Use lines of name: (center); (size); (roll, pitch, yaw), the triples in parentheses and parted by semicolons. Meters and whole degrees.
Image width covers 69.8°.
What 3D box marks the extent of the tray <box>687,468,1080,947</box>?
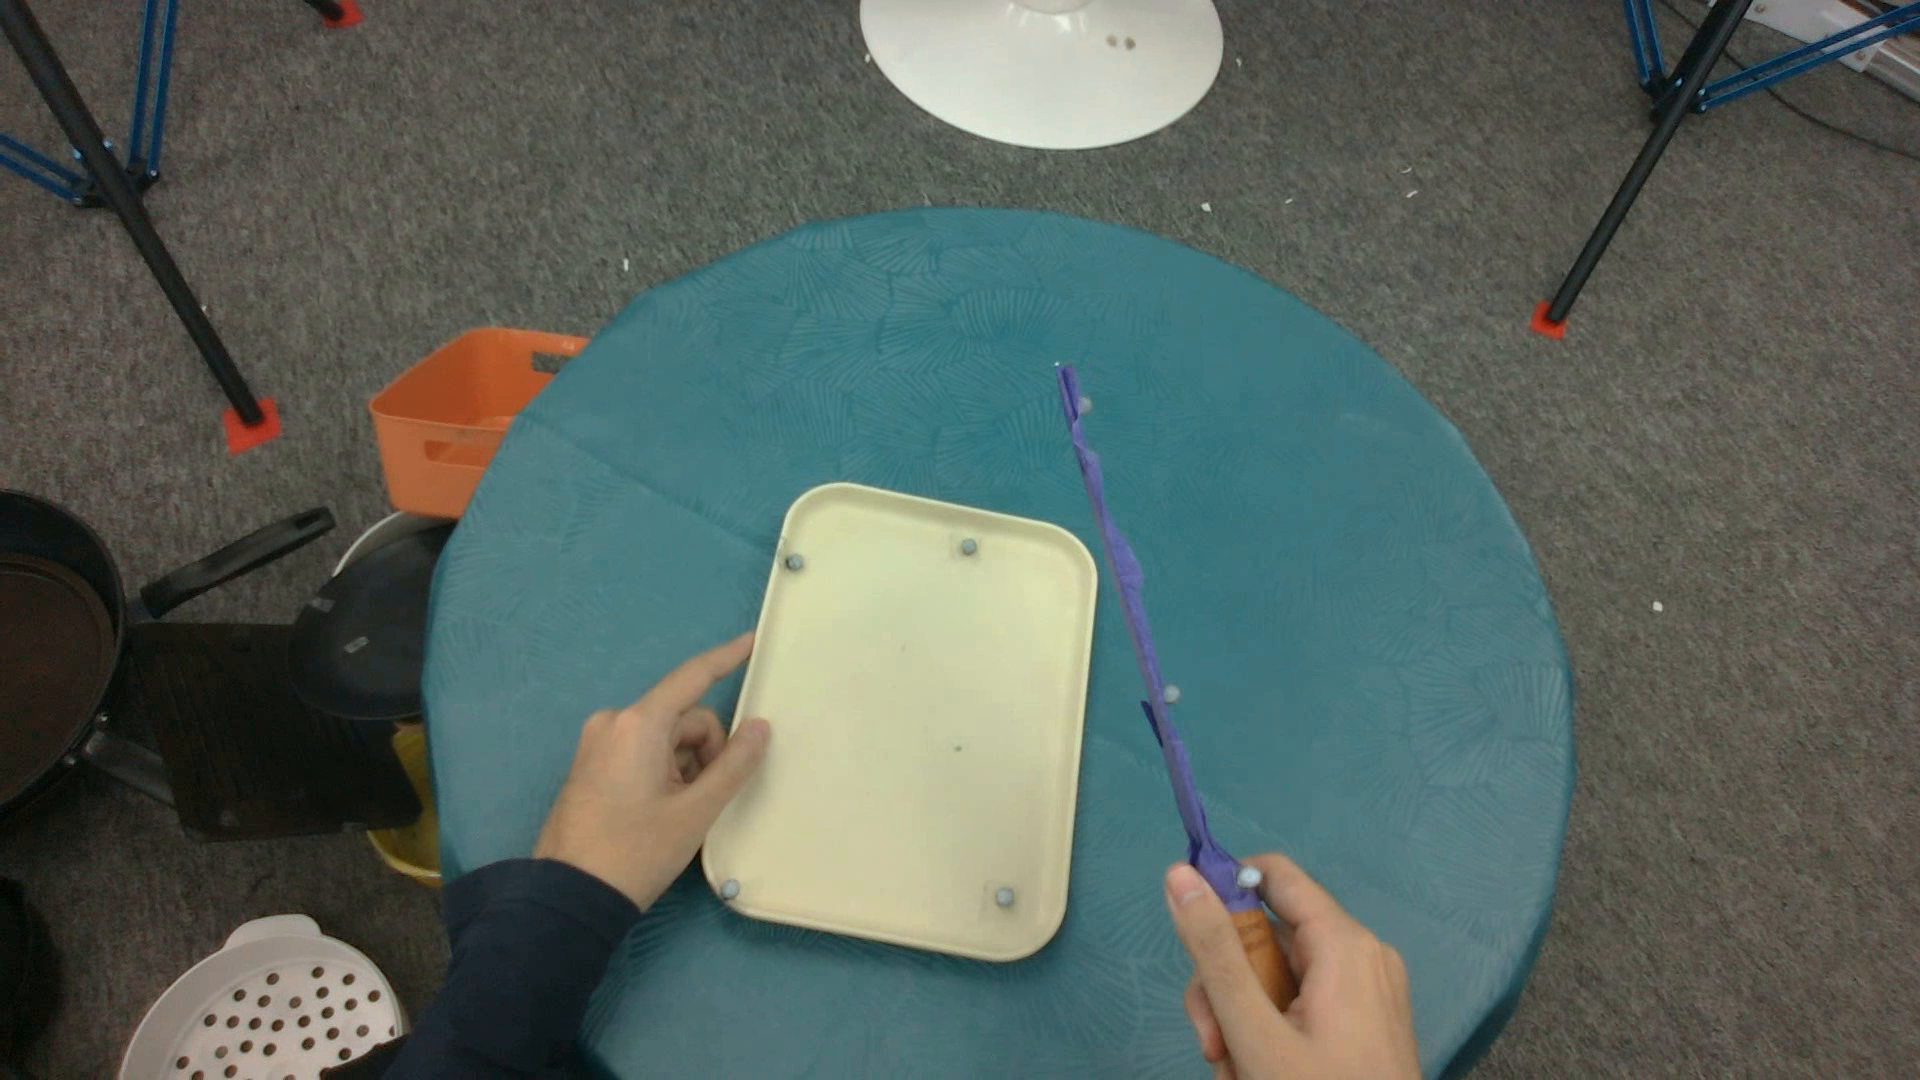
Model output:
tray: (-0.031, 0.076, 0.685); (0.171, 0.017, 0.241); (12, 57, -5)

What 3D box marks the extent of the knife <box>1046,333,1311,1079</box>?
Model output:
knife: (0.083, 0.073, 0.557); (0.032, 0.104, 0.316); (-15, 77, 5)
